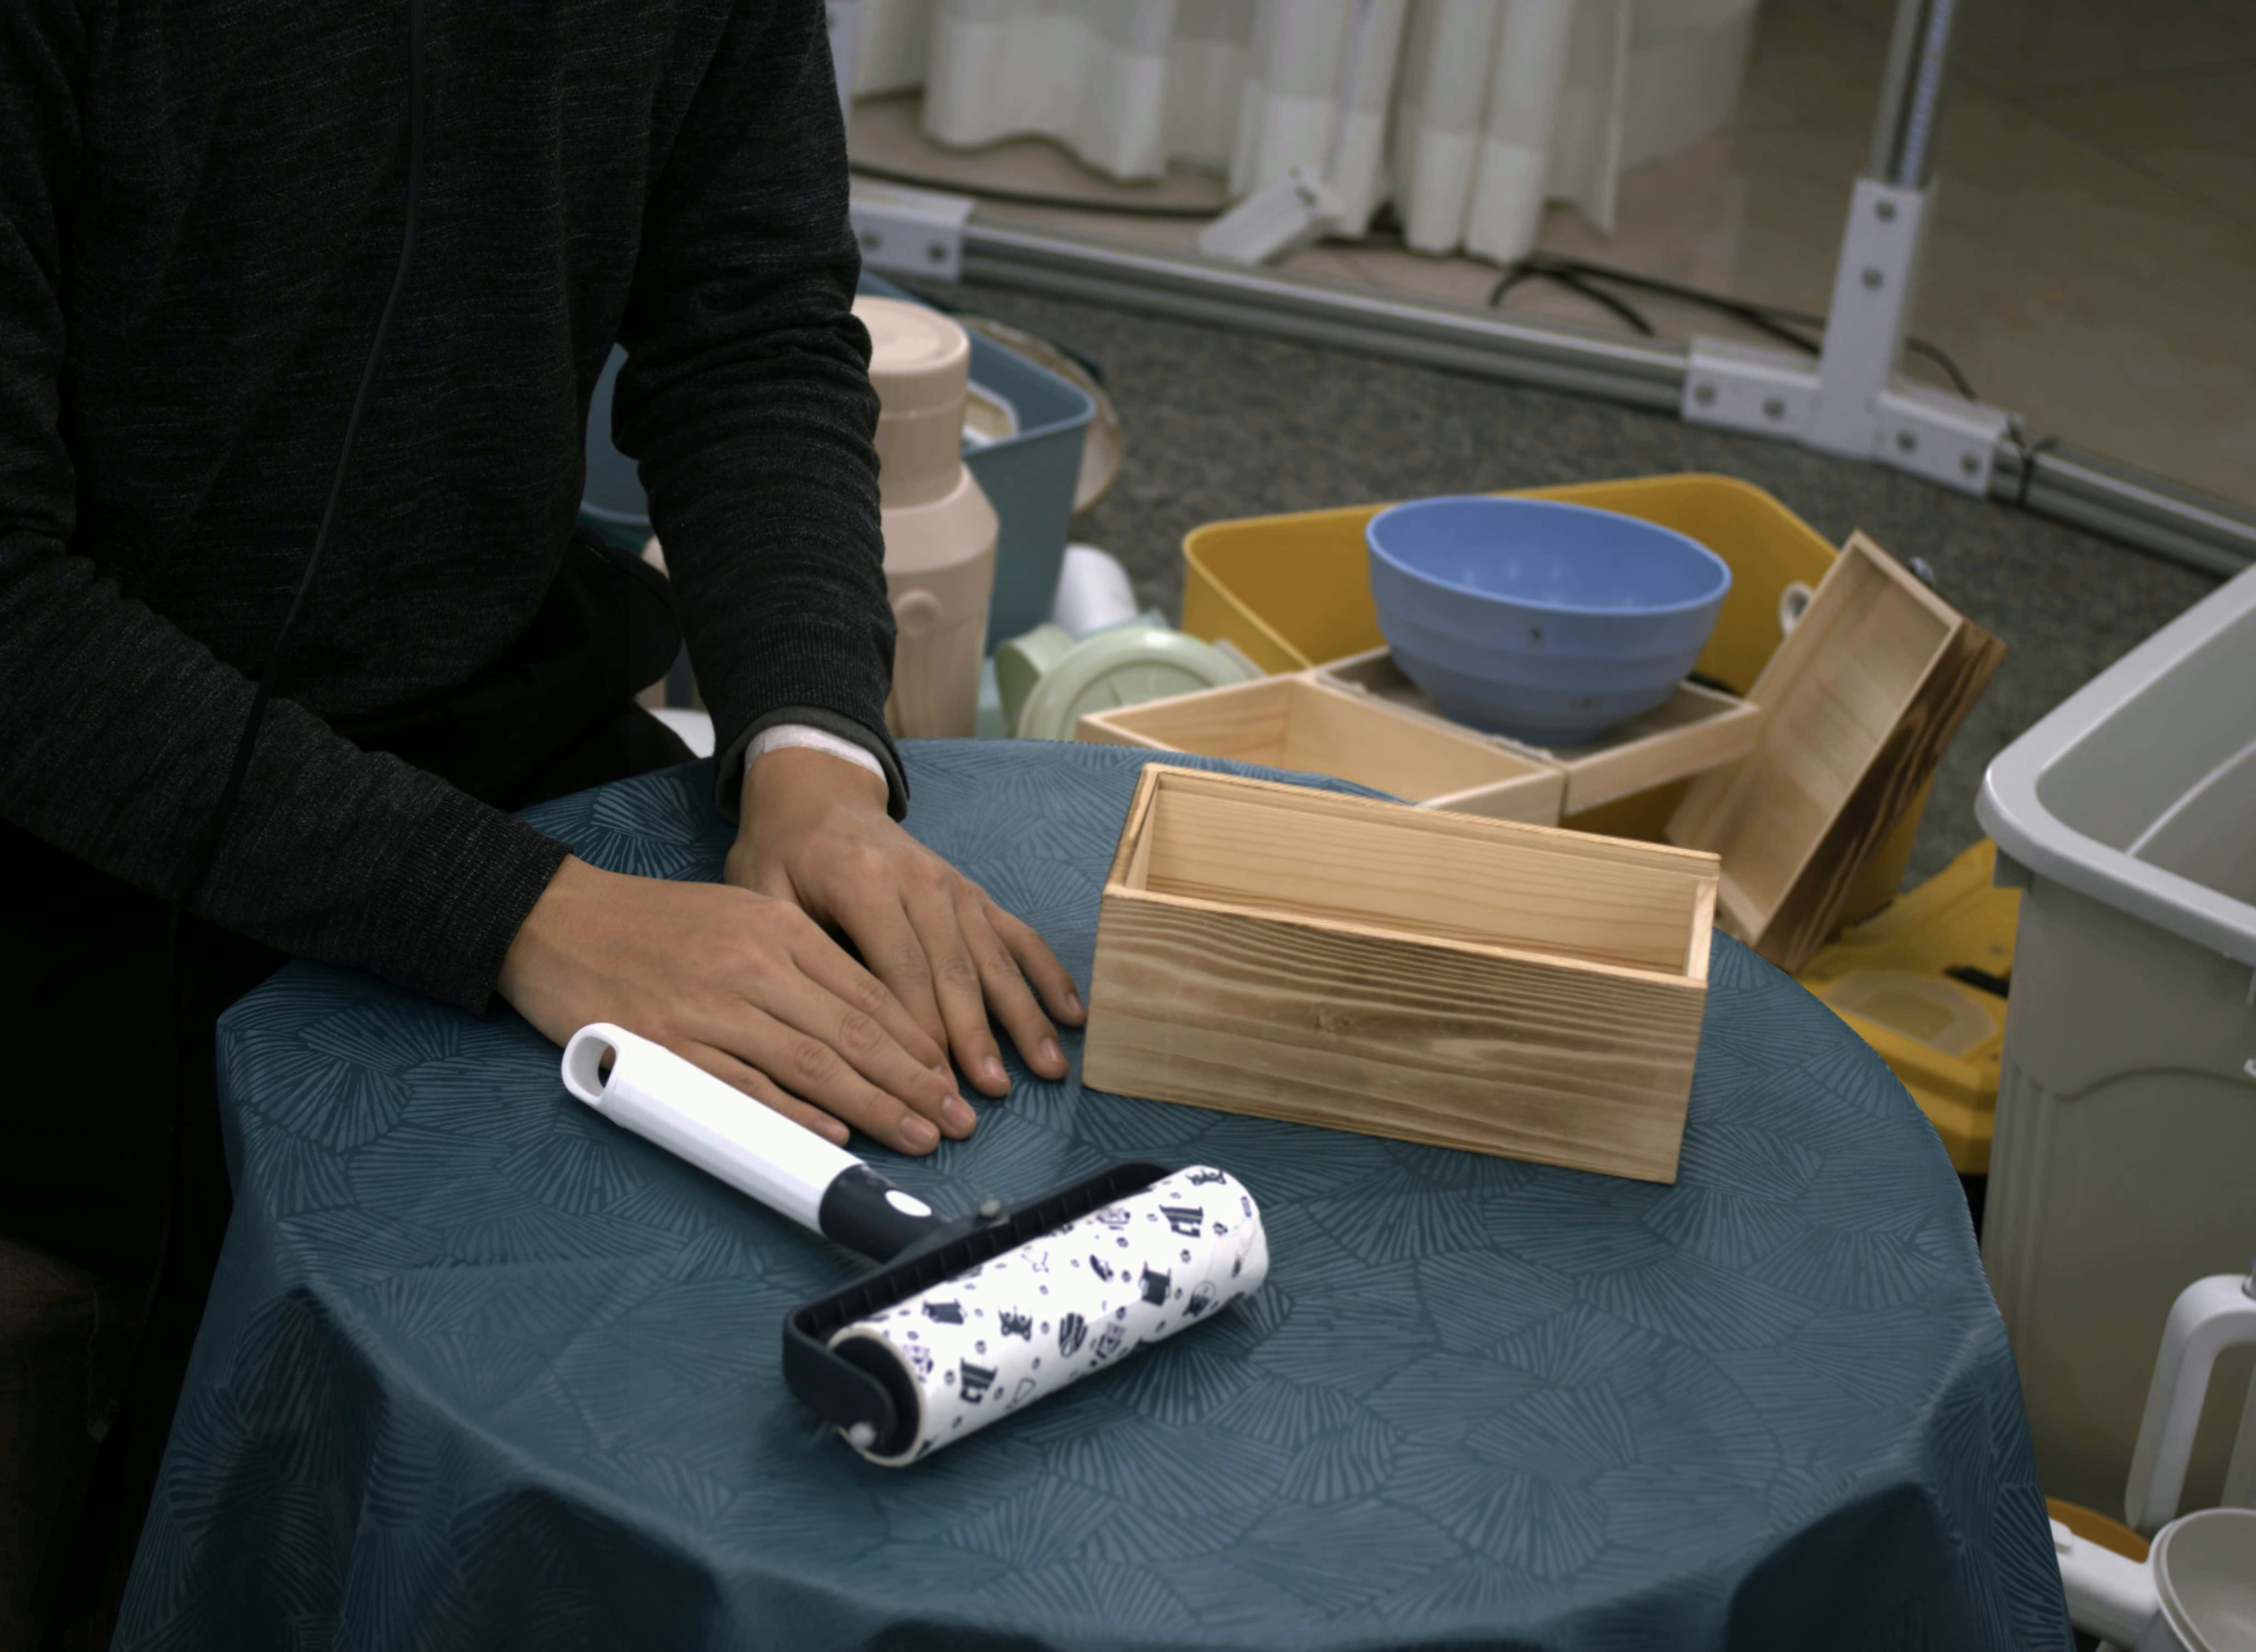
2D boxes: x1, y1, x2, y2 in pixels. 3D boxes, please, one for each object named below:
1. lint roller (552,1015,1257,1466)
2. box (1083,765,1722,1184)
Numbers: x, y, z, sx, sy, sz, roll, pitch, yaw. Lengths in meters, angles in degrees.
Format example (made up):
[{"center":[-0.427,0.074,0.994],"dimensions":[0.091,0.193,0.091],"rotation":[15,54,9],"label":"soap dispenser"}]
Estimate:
[{"center":[-0.102,0.112,1.741],"dimensions":[0.249,0.050,0.175],"rotation":[27,38,35],"label":"lint roller"},{"center":[0.098,0.051,1.879],"dimensions":[0.211,0.080,0.108],"rotation":[9,26,5],"label":"box"}]
